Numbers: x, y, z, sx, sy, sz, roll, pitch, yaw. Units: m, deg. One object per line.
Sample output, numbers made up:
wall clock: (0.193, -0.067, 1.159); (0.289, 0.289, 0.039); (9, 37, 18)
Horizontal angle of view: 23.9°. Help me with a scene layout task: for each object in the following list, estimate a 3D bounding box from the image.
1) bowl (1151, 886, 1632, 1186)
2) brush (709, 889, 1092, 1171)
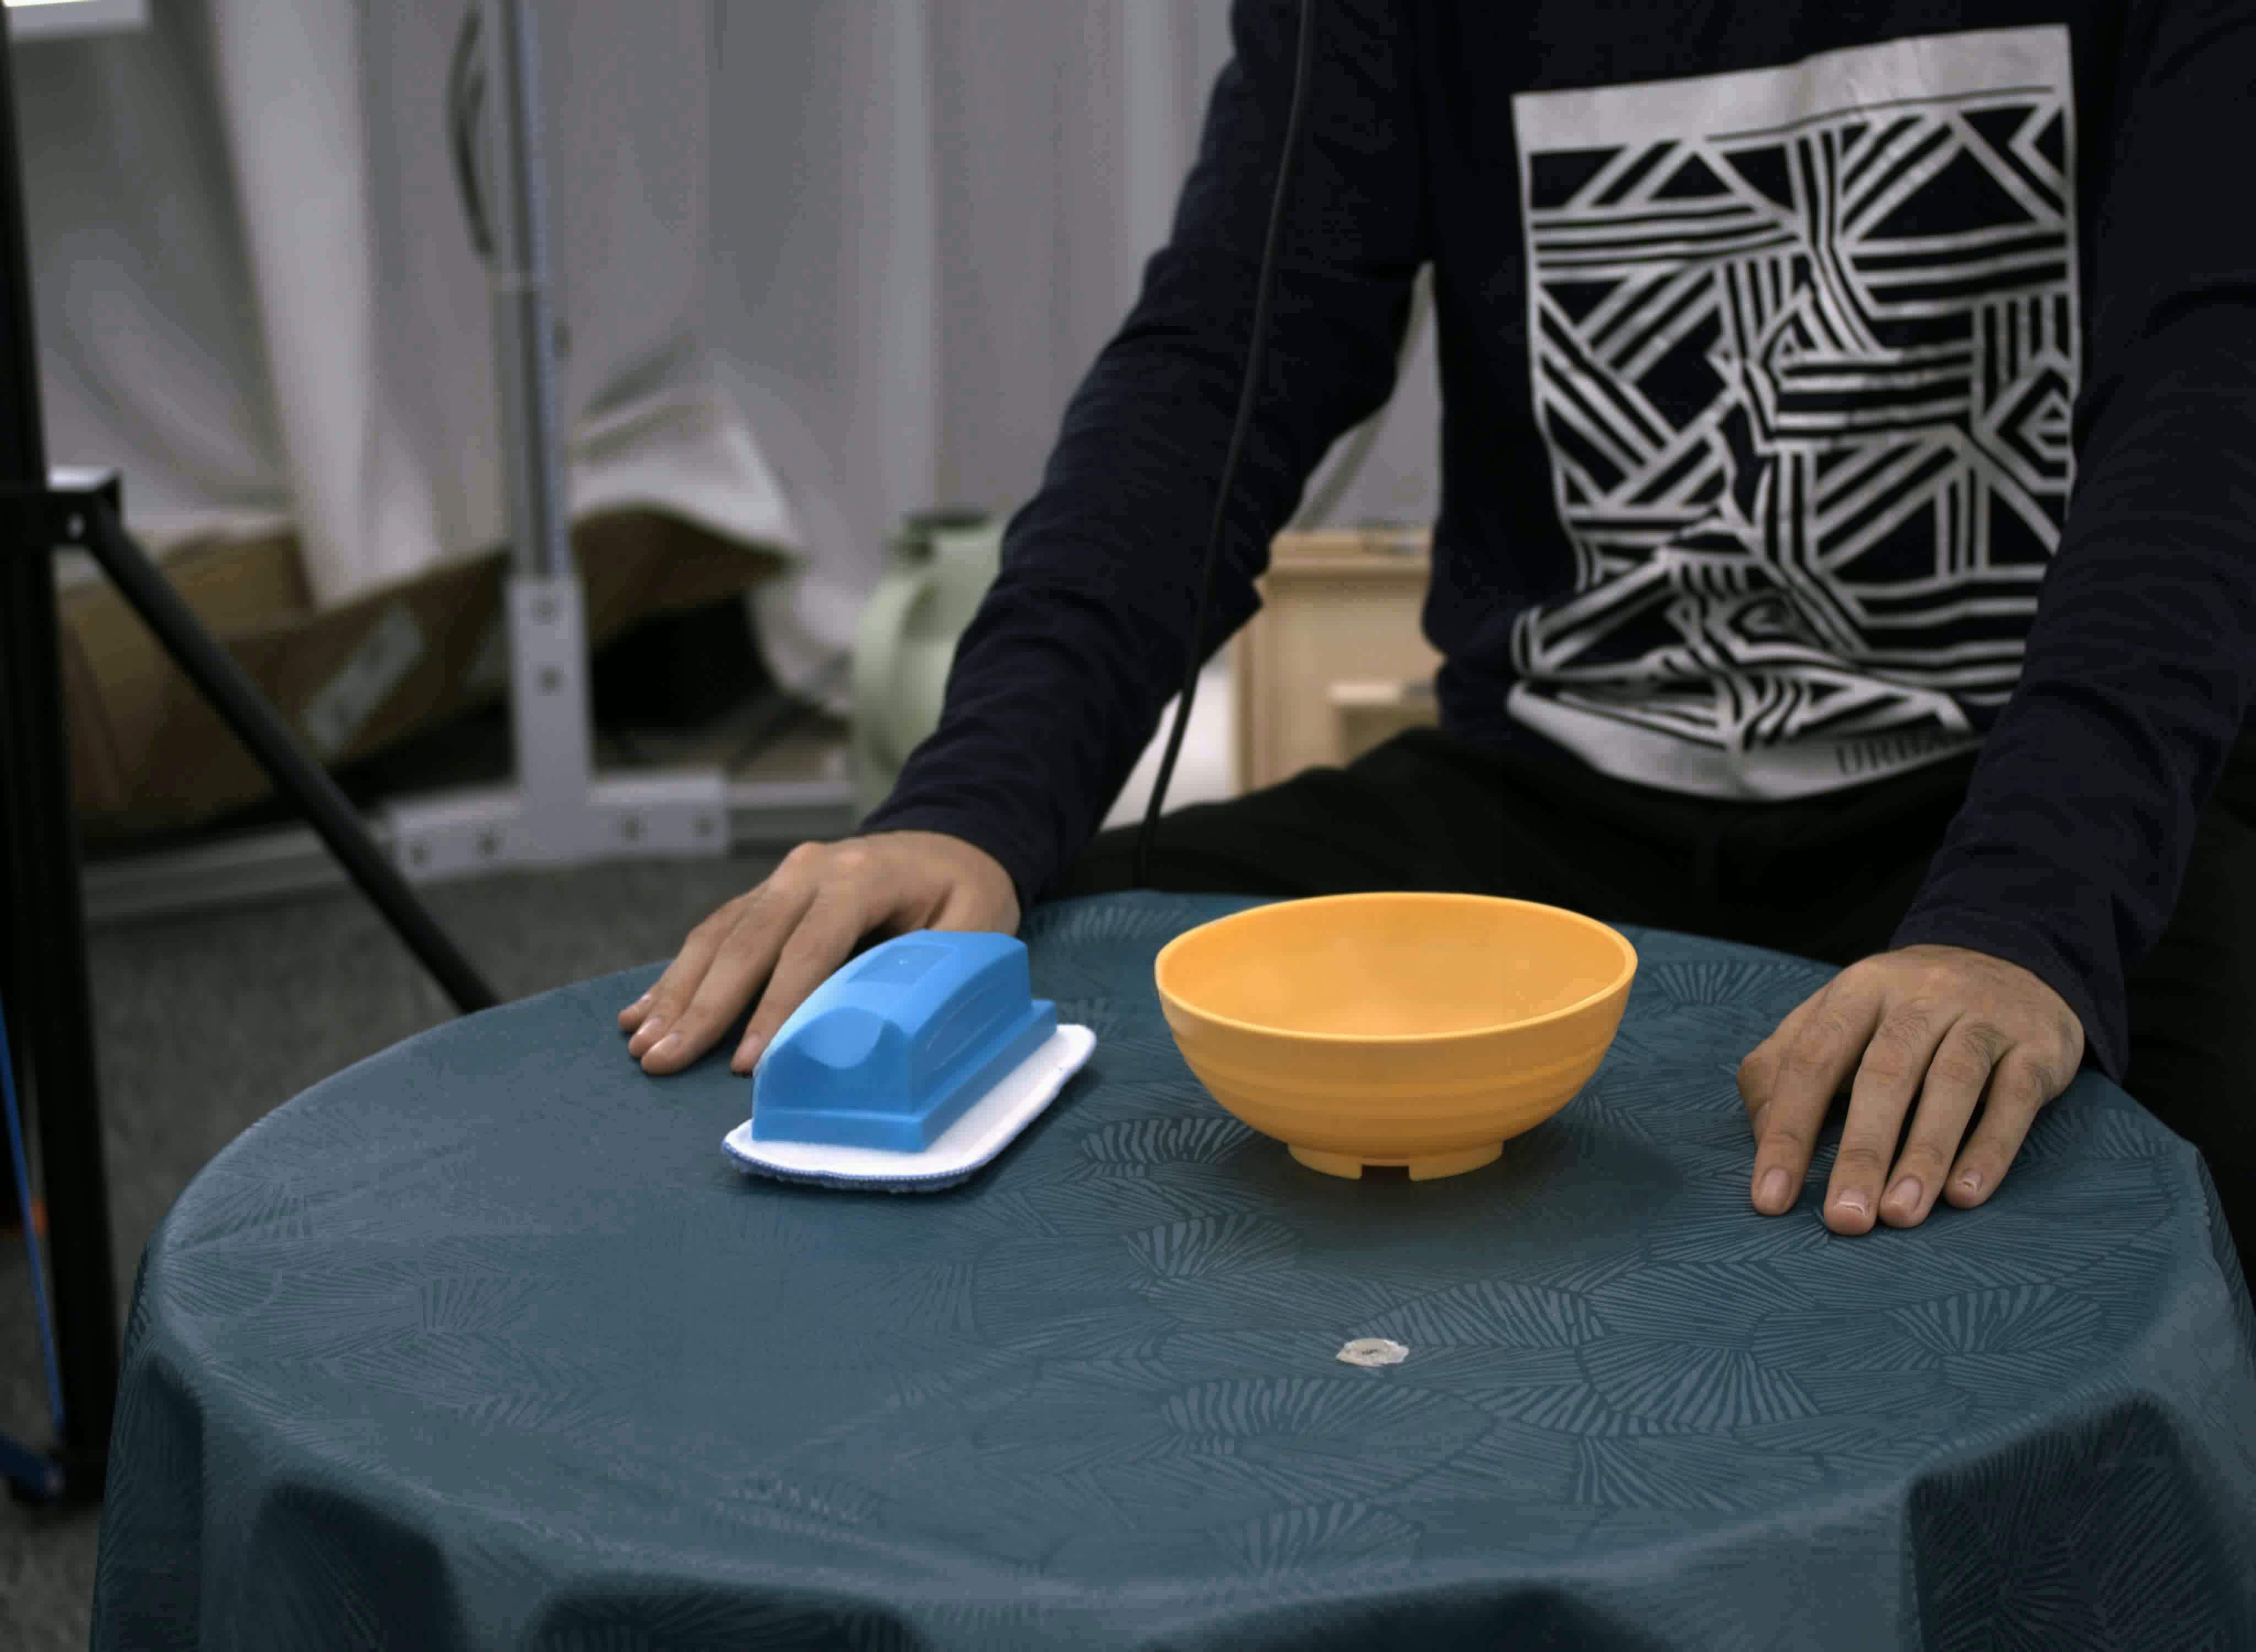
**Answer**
bowl: (0.079, 0.069, 1.585); (0.144, 0.060, 0.146); (-2, 18, -1)
brush: (-0.068, 0.059, 1.632); (0.085, 0.056, 0.142); (8, 20, 19)
